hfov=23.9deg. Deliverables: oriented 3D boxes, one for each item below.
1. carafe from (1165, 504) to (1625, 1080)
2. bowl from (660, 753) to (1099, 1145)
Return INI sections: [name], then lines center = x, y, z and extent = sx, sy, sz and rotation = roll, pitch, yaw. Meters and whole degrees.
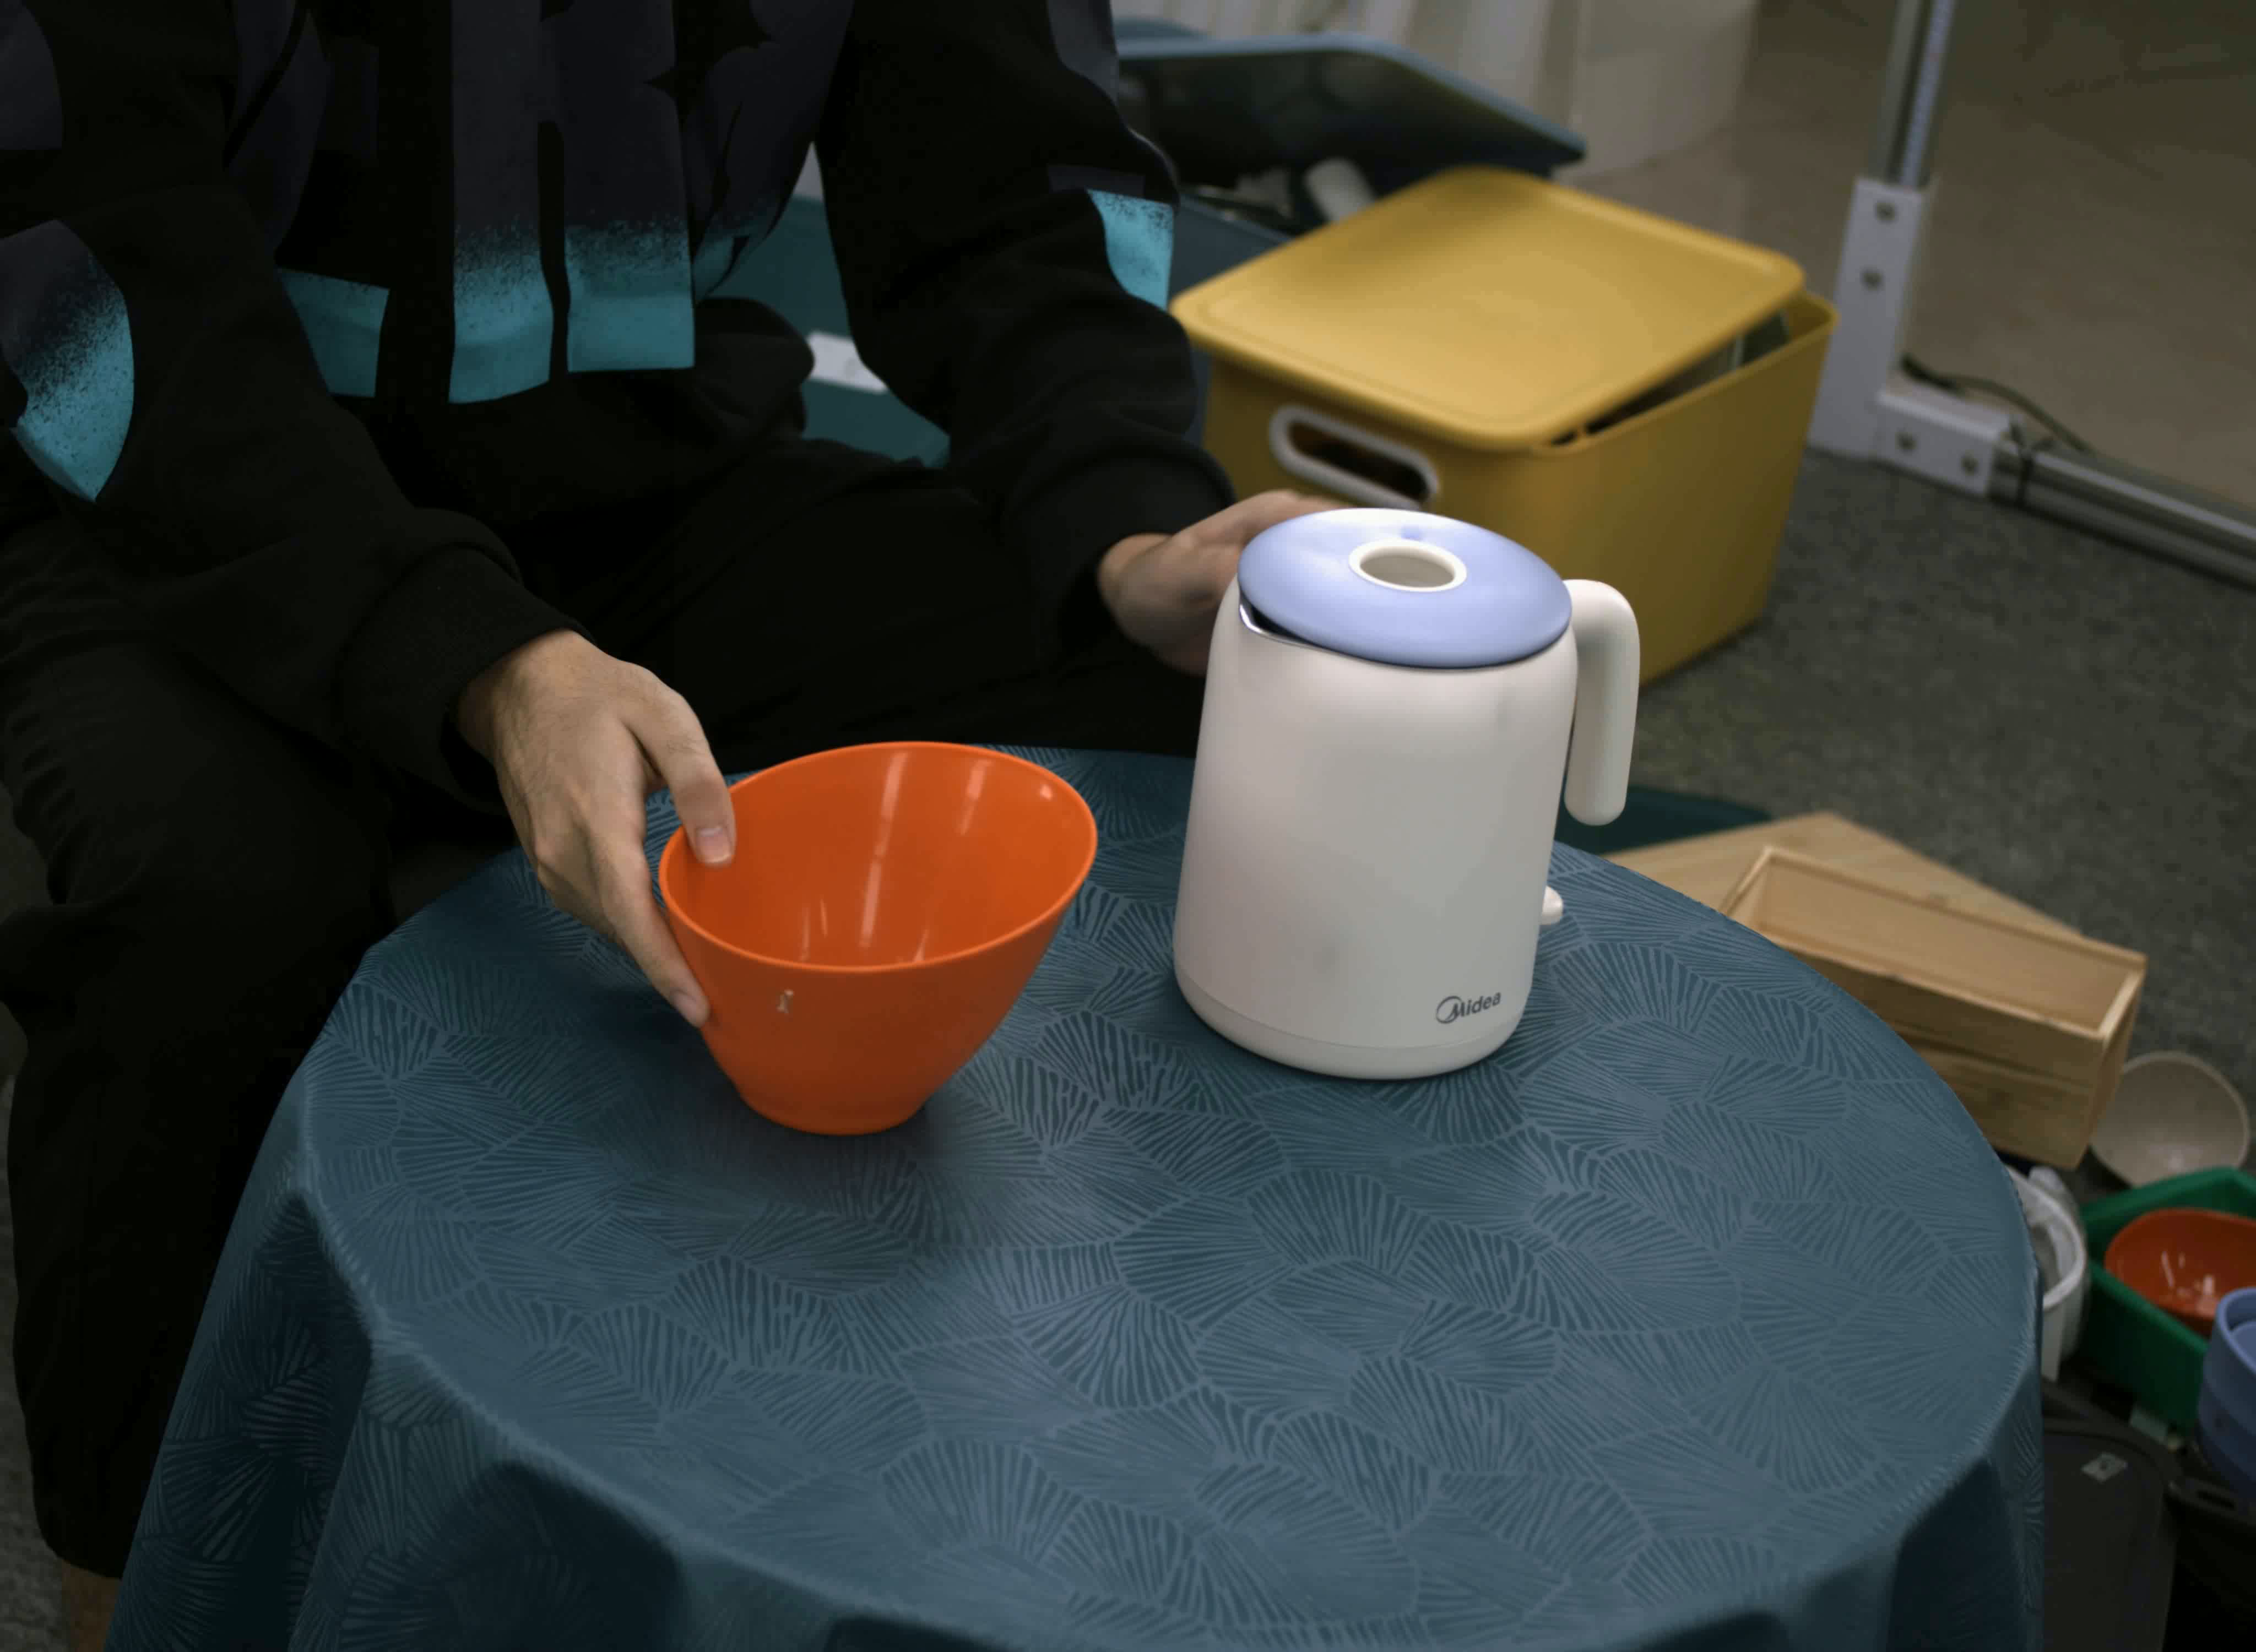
[carafe]
center = 0.106, -0.017, 1.911
extent = 0.190, 0.182, 0.133
rotation = -12, 33, -37
[bowl]
center = -0.087, 0.048, 1.818
extent = 0.147, 0.104, 0.149
rotation = 5, 27, -3
